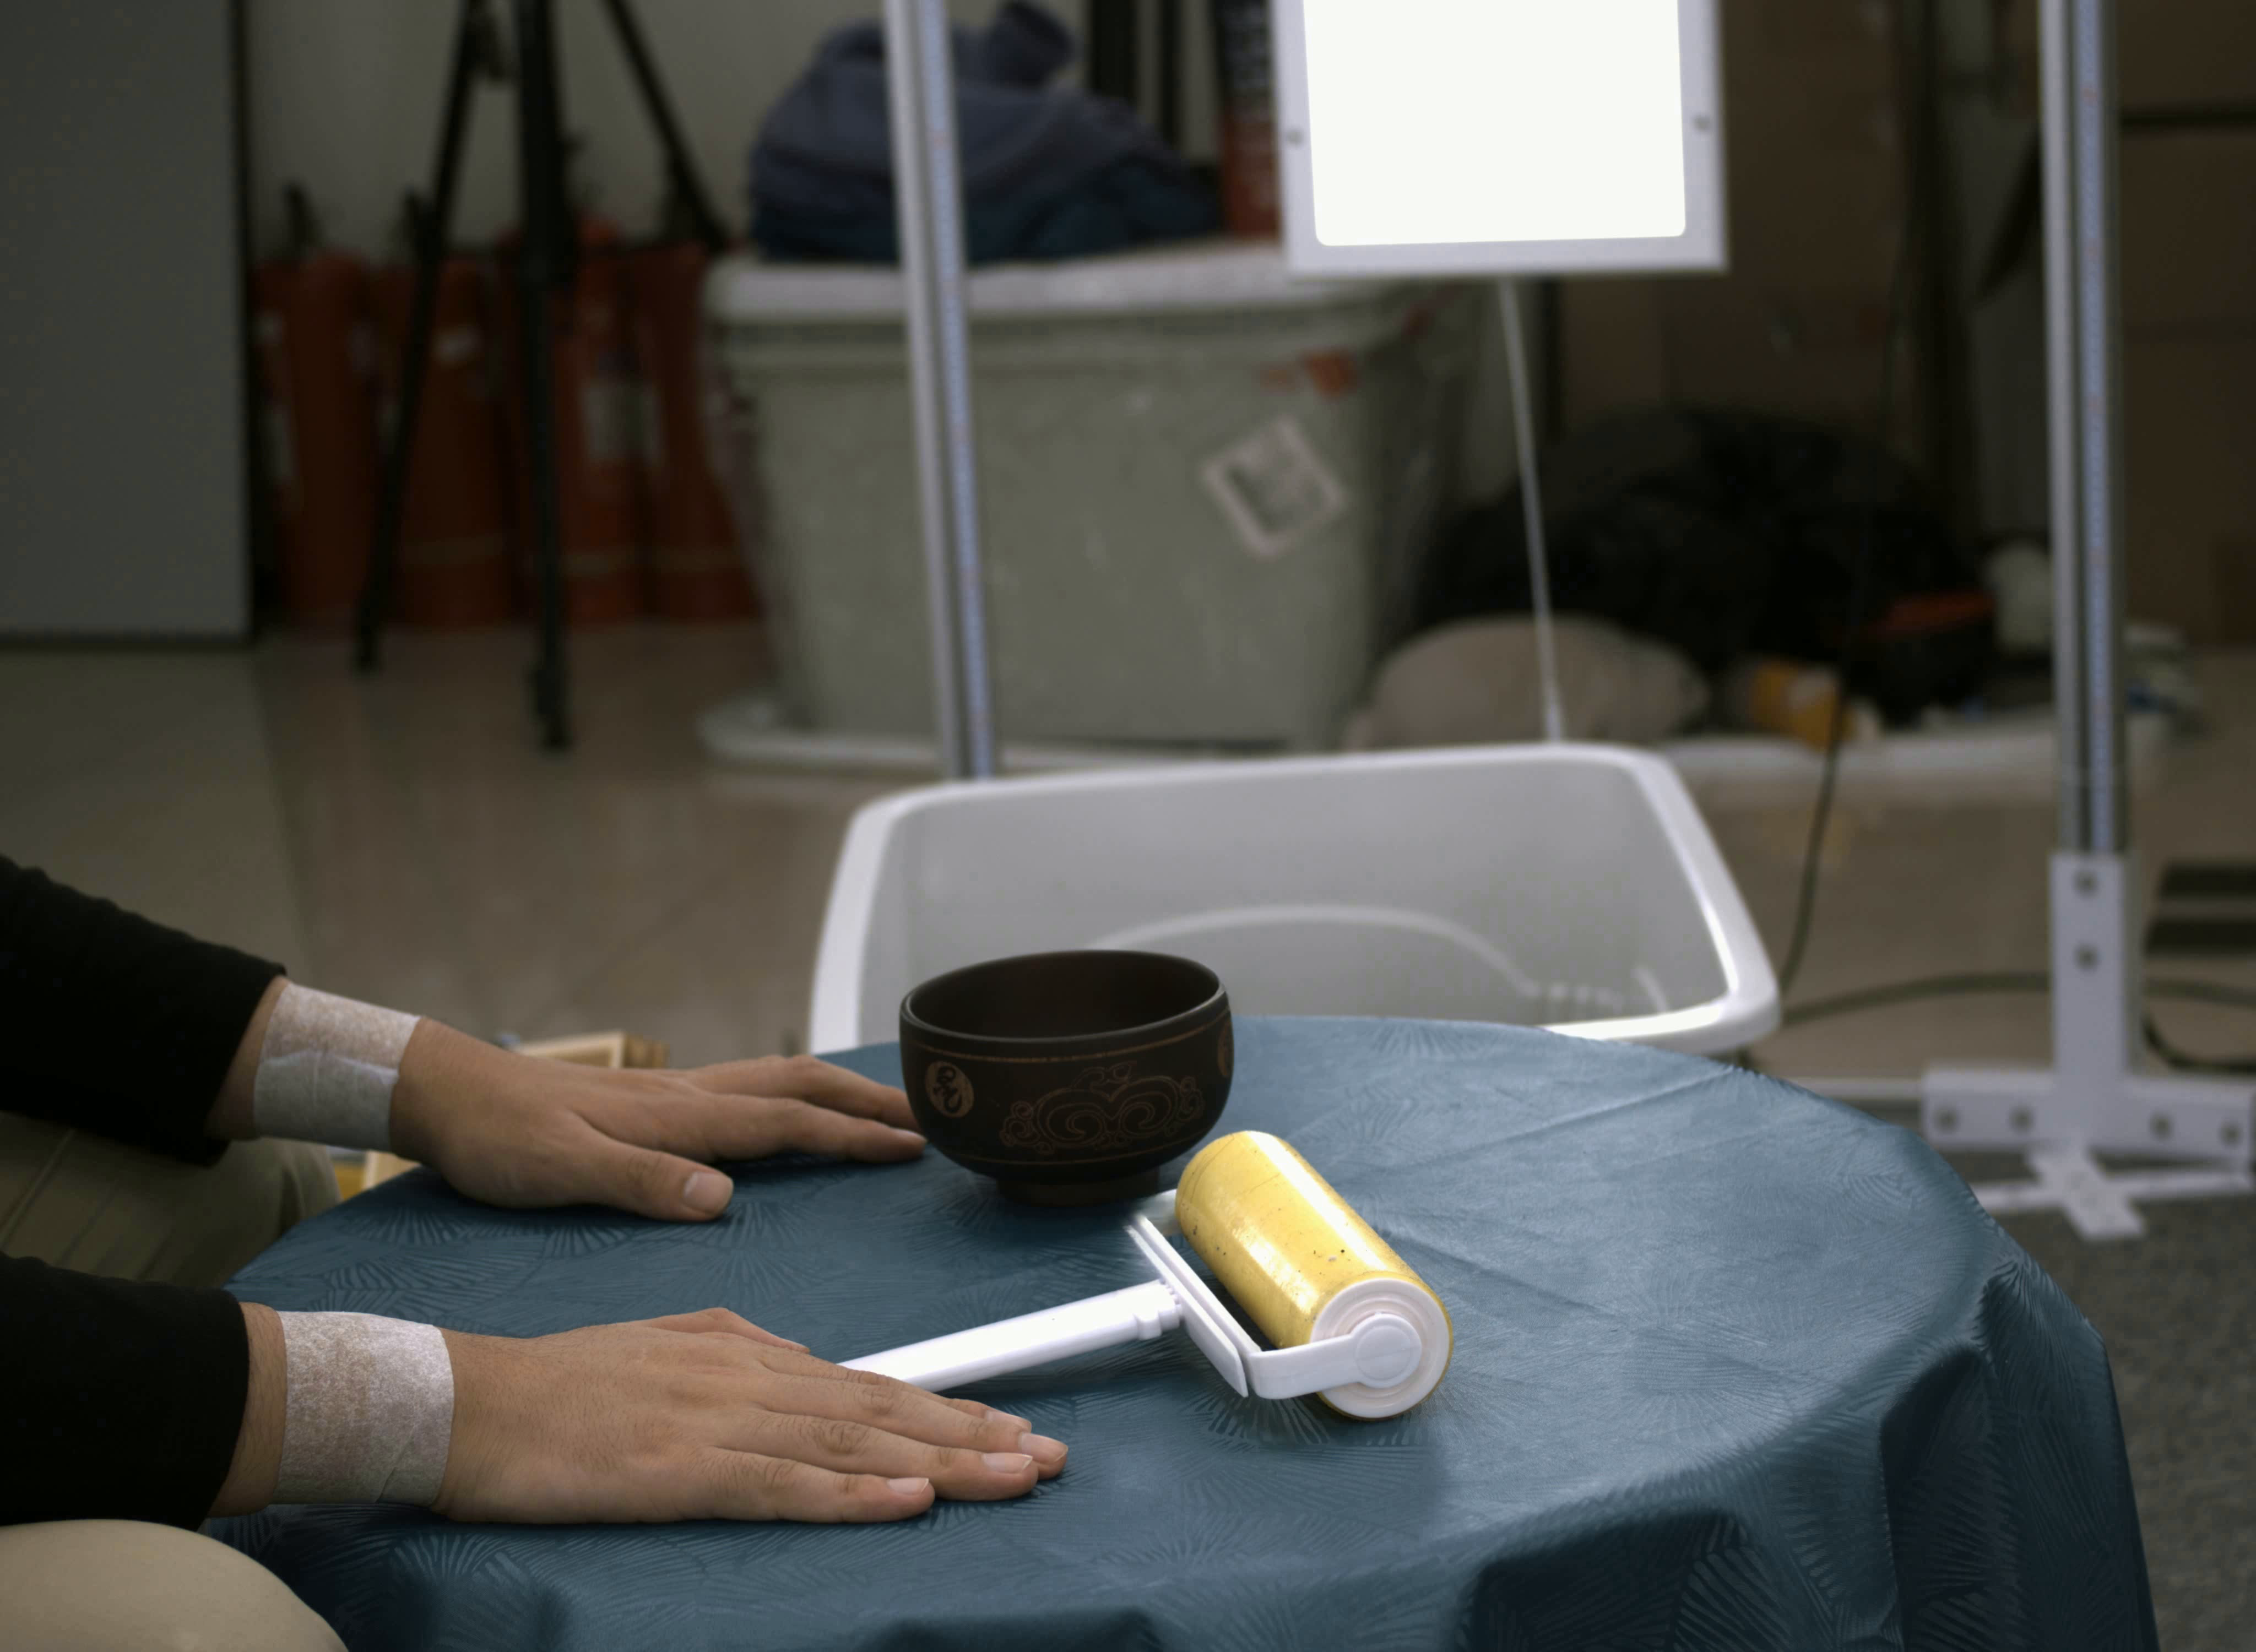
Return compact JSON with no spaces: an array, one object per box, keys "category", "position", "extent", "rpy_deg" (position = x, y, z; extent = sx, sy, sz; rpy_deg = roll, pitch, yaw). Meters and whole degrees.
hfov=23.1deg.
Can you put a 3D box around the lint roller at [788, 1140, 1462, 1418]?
[{"category":"lint roller","position":[-0.011,0.147,1.711],"extent":[0.189,0.051,0.176],"rpy_deg":[-3,12,-14]}]

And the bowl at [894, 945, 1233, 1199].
[{"category":"bowl","position":[-0.021,0.088,1.905],"extent":[0.117,0.070,0.118],"rpy_deg":[-4,13,0]}]
